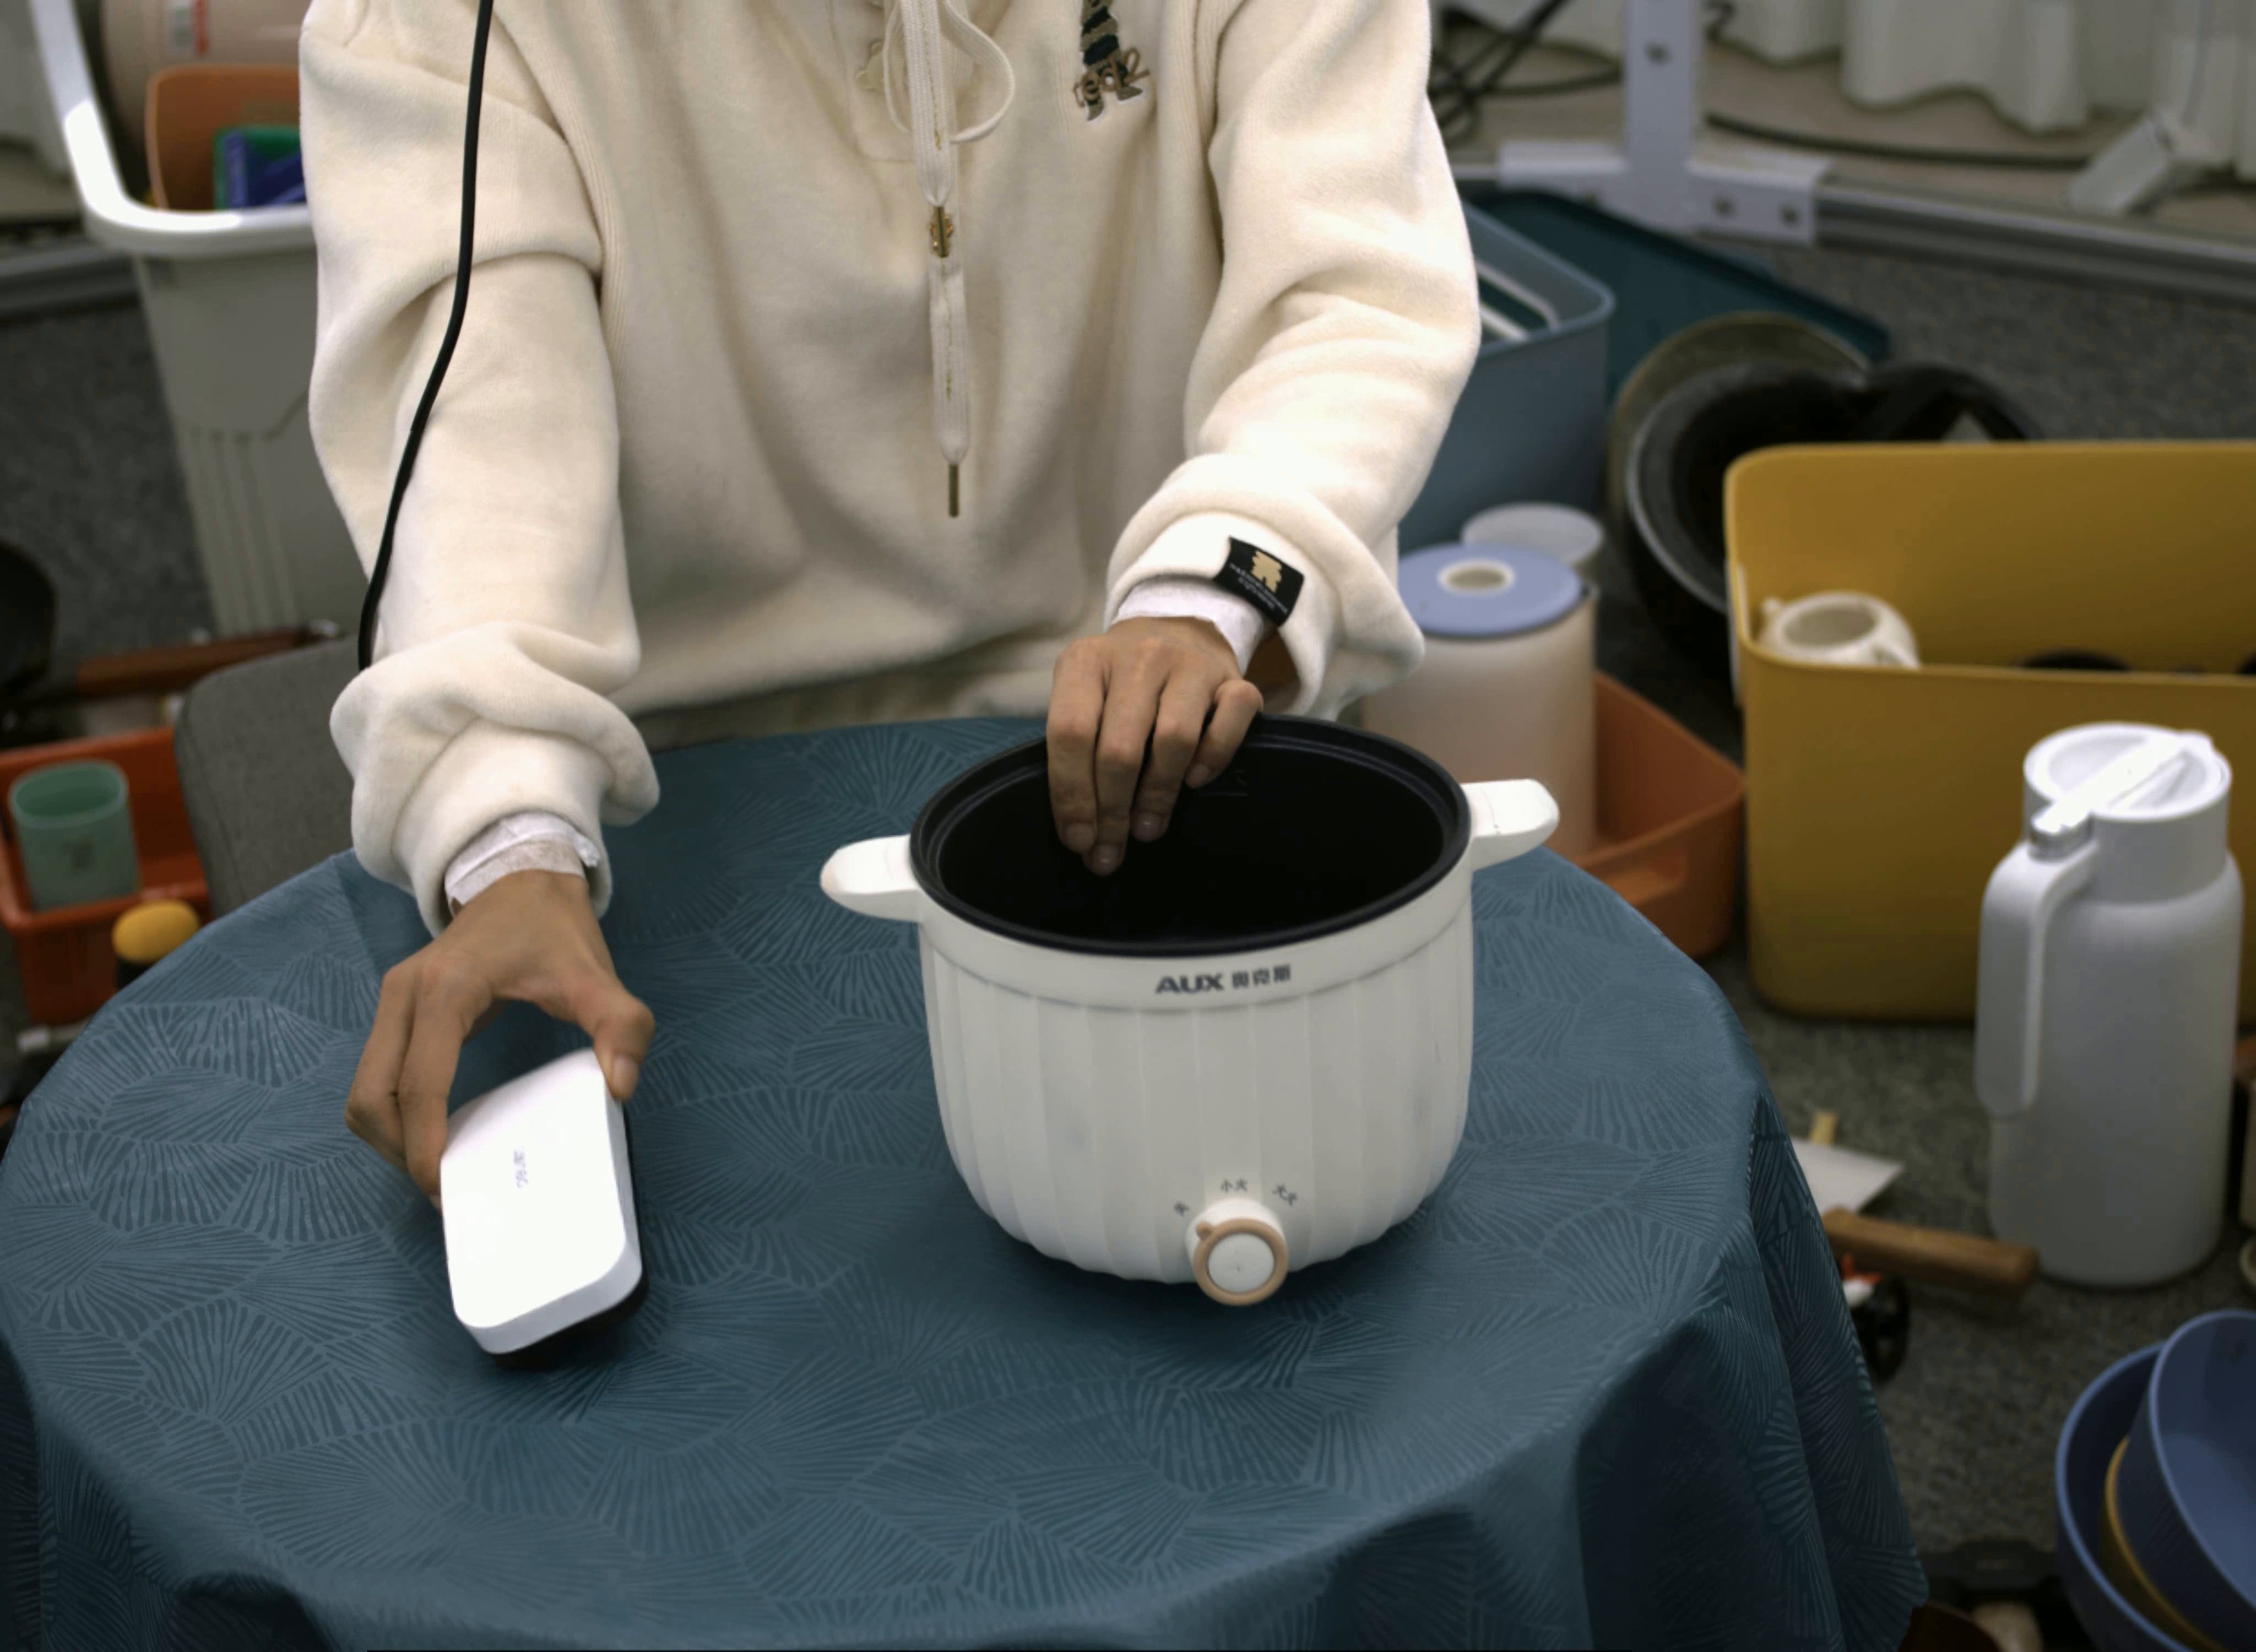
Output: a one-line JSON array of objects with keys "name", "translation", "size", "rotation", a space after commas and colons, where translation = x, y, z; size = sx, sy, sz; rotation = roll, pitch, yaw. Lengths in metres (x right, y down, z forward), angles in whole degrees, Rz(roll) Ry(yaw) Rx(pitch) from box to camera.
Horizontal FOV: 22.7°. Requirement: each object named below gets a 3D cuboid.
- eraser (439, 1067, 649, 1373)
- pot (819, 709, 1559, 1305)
[{"name": "eraser", "translation": [-0.188, 0.125, 1.821], "size": [0.063, 0.034, 0.133], "rotation": [-20, 31, 2]}, {"name": "pot", "translation": [0.025, 0.062, 1.820], "size": [0.240, 0.141, 0.192], "rotation": [-7, 21, -5]}]
